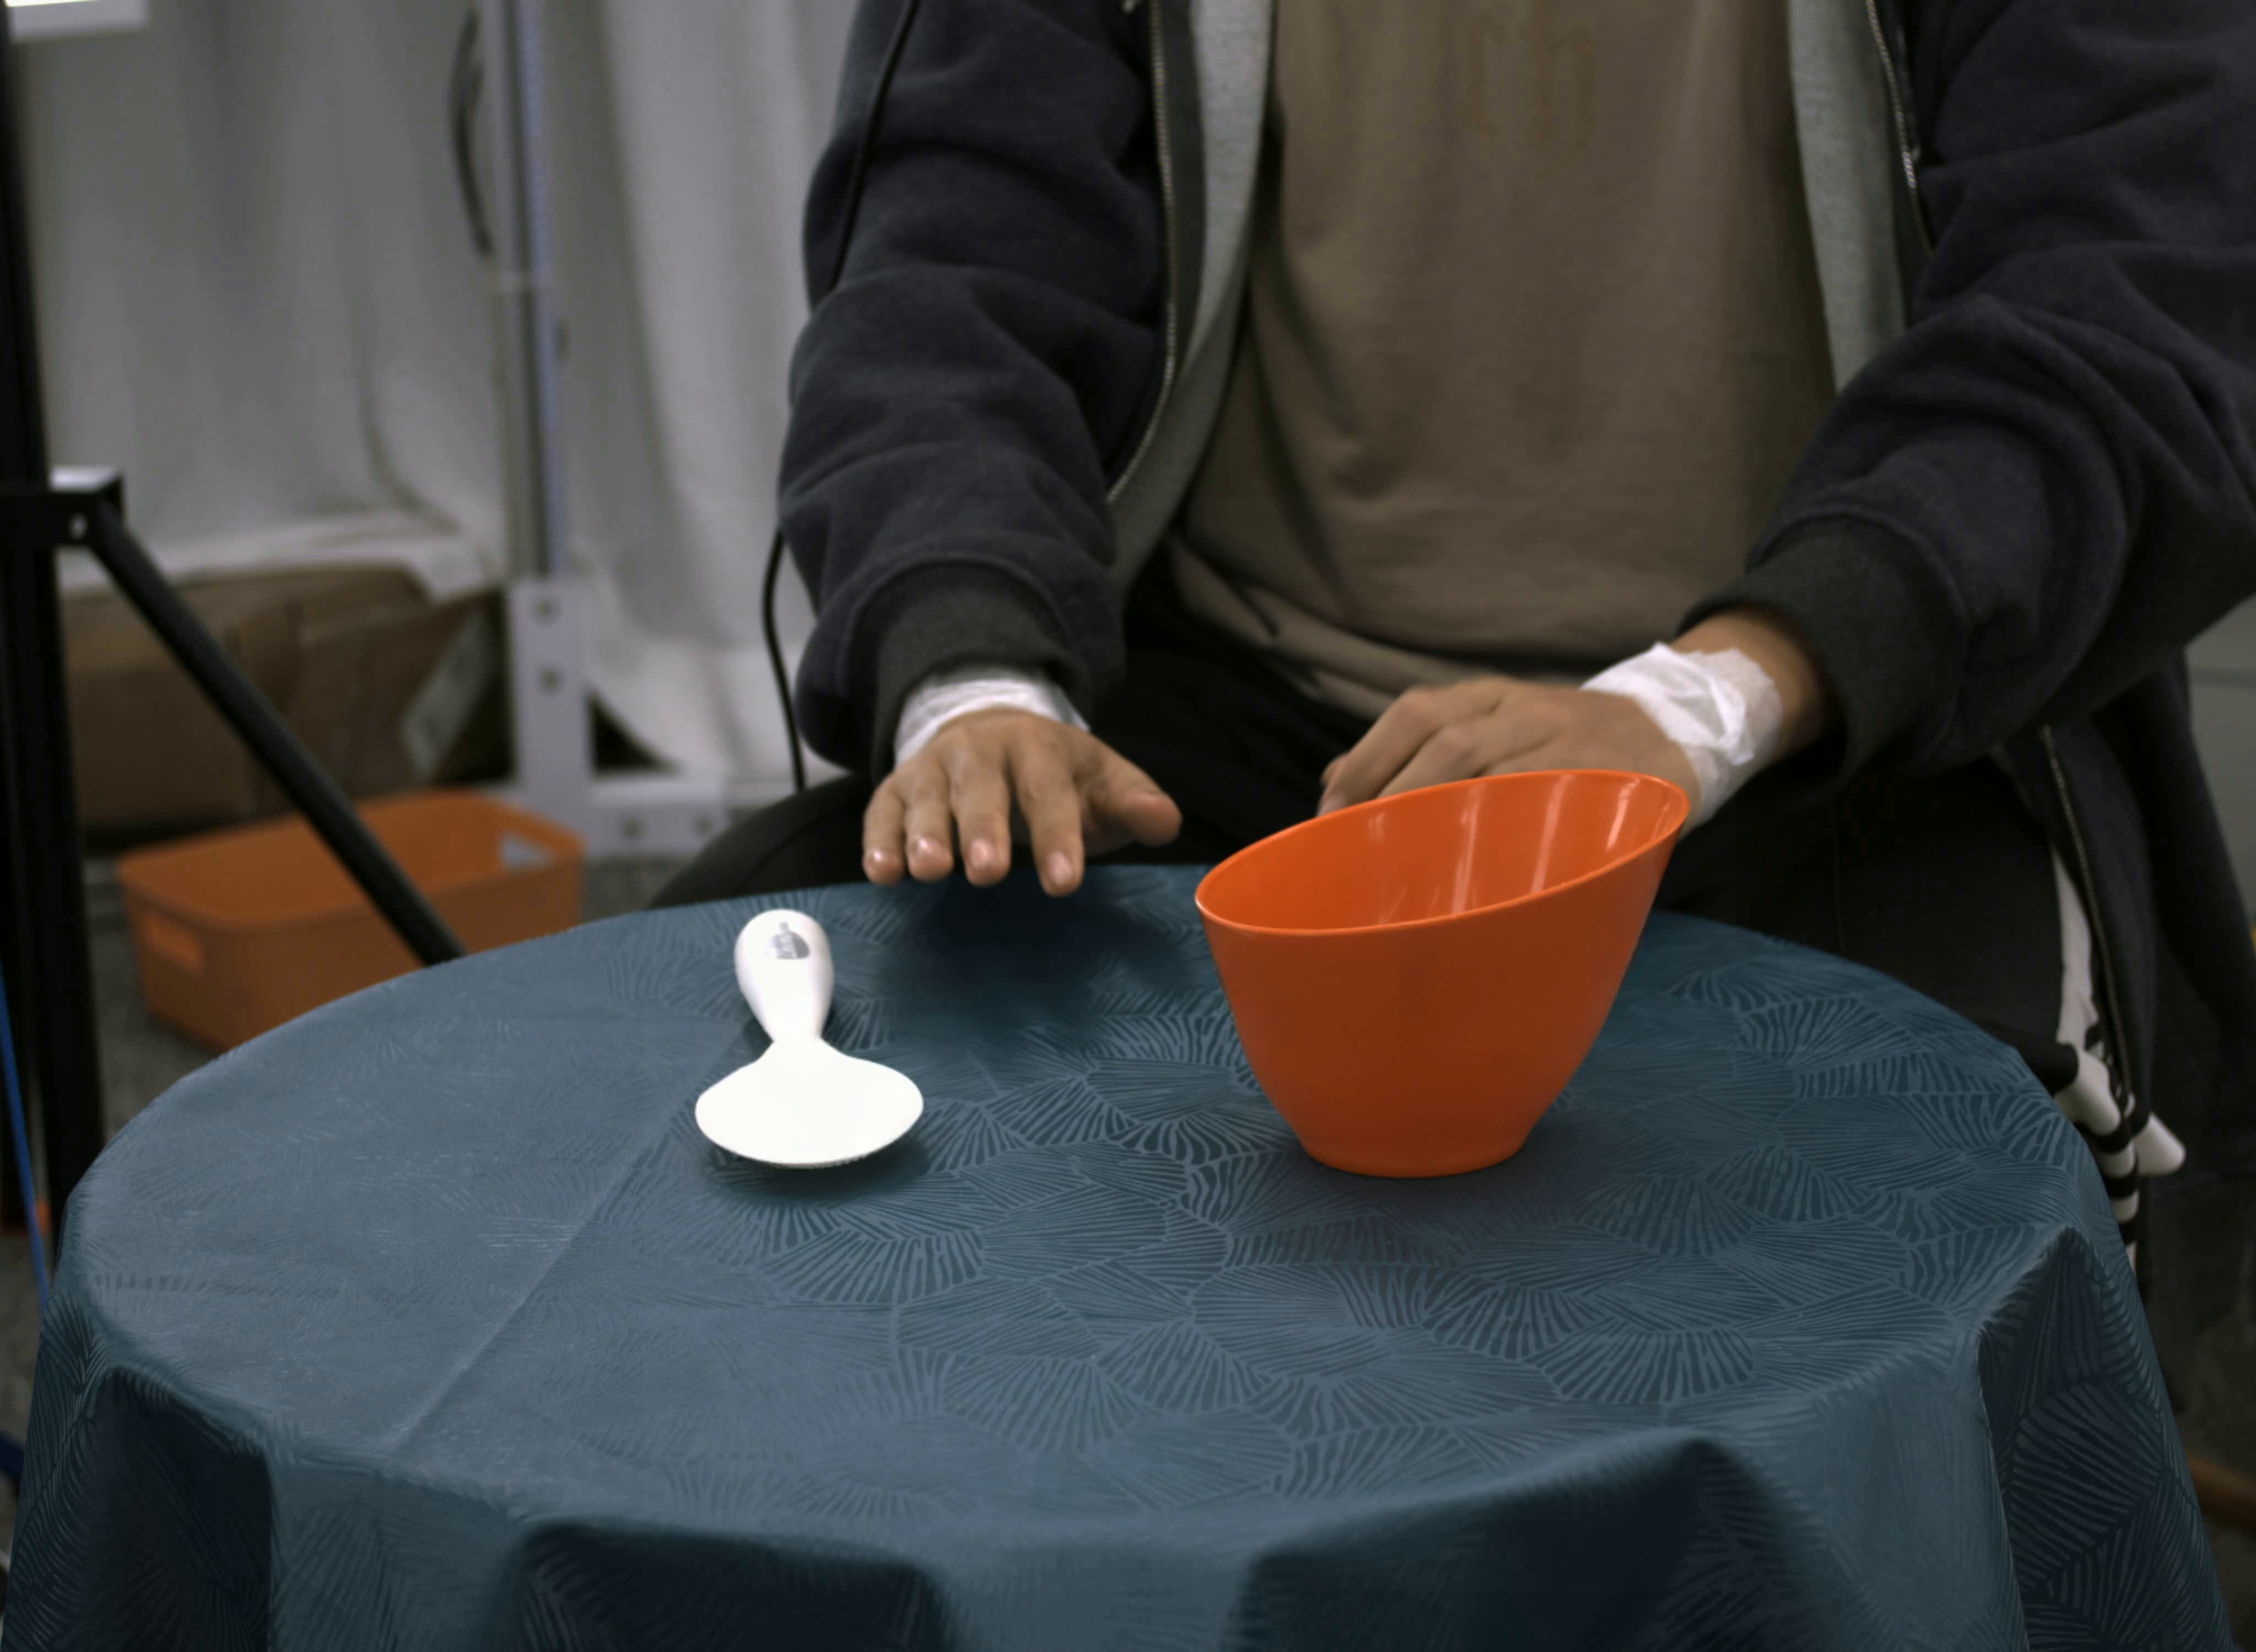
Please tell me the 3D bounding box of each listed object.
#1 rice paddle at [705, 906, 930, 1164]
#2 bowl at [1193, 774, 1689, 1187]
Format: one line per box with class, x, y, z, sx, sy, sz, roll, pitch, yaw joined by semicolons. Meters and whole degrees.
rice paddle;-0.101;0.068;1.664;0.068;0.029;0.207;-6;16;-6
bowl;0.094;0.048;1.574;0.147;0.104;0.149;-4;16;0
